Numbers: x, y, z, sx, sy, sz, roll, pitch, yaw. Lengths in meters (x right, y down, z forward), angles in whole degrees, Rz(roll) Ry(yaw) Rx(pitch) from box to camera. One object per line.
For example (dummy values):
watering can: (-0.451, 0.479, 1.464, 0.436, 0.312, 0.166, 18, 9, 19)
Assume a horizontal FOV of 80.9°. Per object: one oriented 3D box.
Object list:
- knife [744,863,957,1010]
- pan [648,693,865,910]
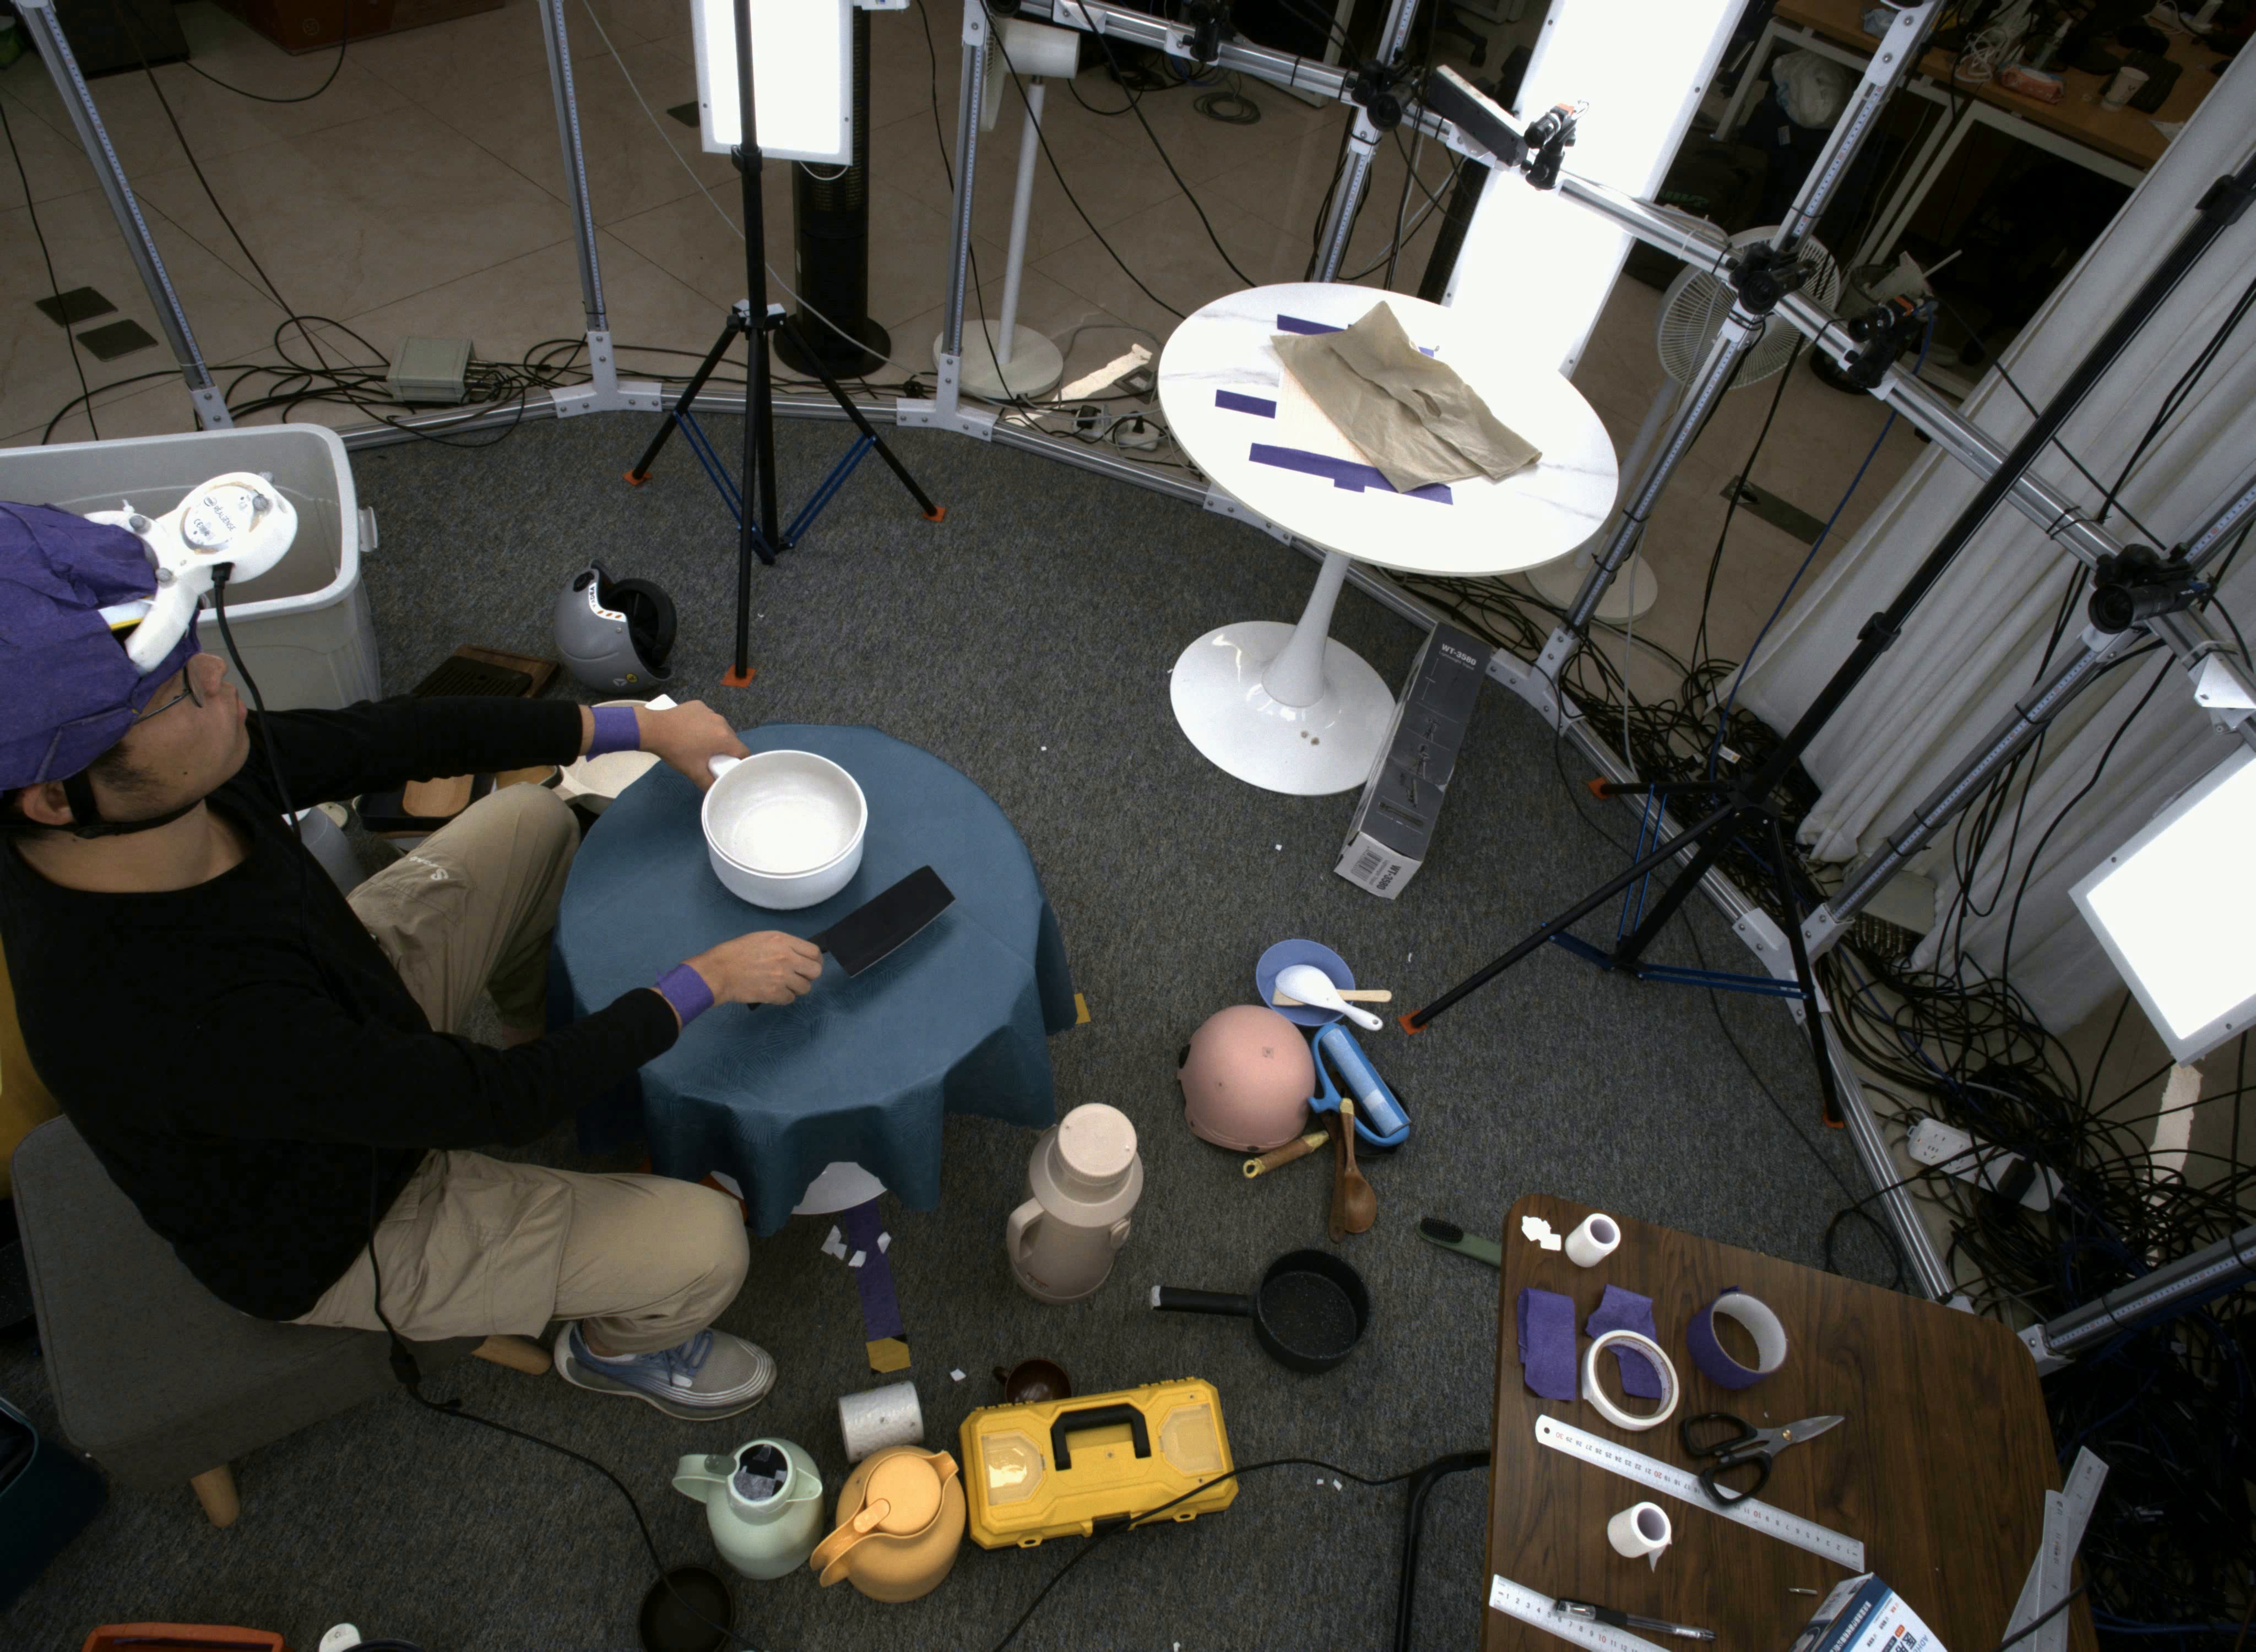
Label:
knife: (-0.332, 0.135, 1.564, 0.304, 0.021, 0.081, -30, 83, -38)
pan: (-0.494, -0.036, 1.668, 0.347, 0.104, 0.201, 37, 55, 16)
